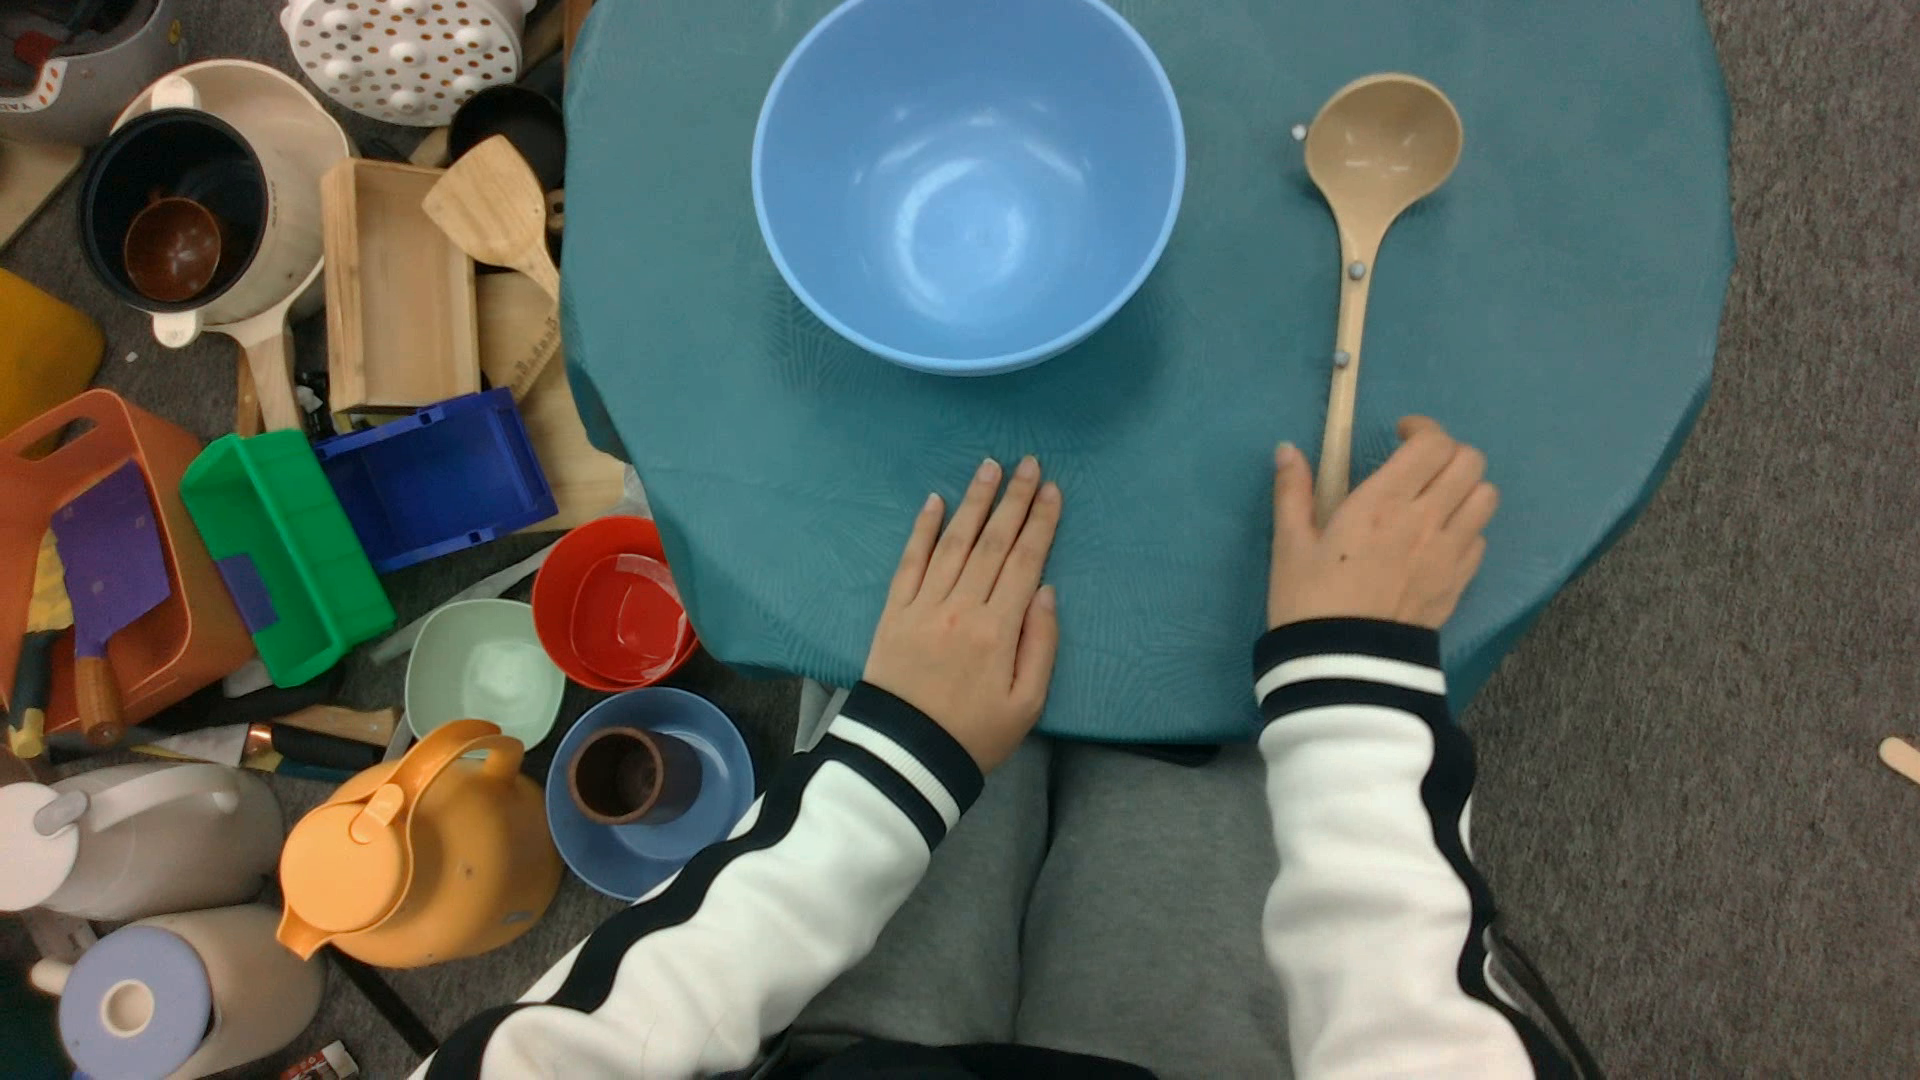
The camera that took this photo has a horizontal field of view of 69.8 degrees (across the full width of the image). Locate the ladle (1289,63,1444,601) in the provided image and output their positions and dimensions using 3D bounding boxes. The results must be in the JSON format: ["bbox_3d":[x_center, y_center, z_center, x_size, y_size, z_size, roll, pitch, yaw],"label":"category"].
[{"bbox_3d":[0.186,-0.101,0.653,0.072,0.072,0.255,6,80,5],"label":"ladle"}]

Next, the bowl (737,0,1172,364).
[{"bbox_3d":[0.000,-0.167,0.664,0.196,0.095,0.197,-1,77,4],"label":"bowl"}]
